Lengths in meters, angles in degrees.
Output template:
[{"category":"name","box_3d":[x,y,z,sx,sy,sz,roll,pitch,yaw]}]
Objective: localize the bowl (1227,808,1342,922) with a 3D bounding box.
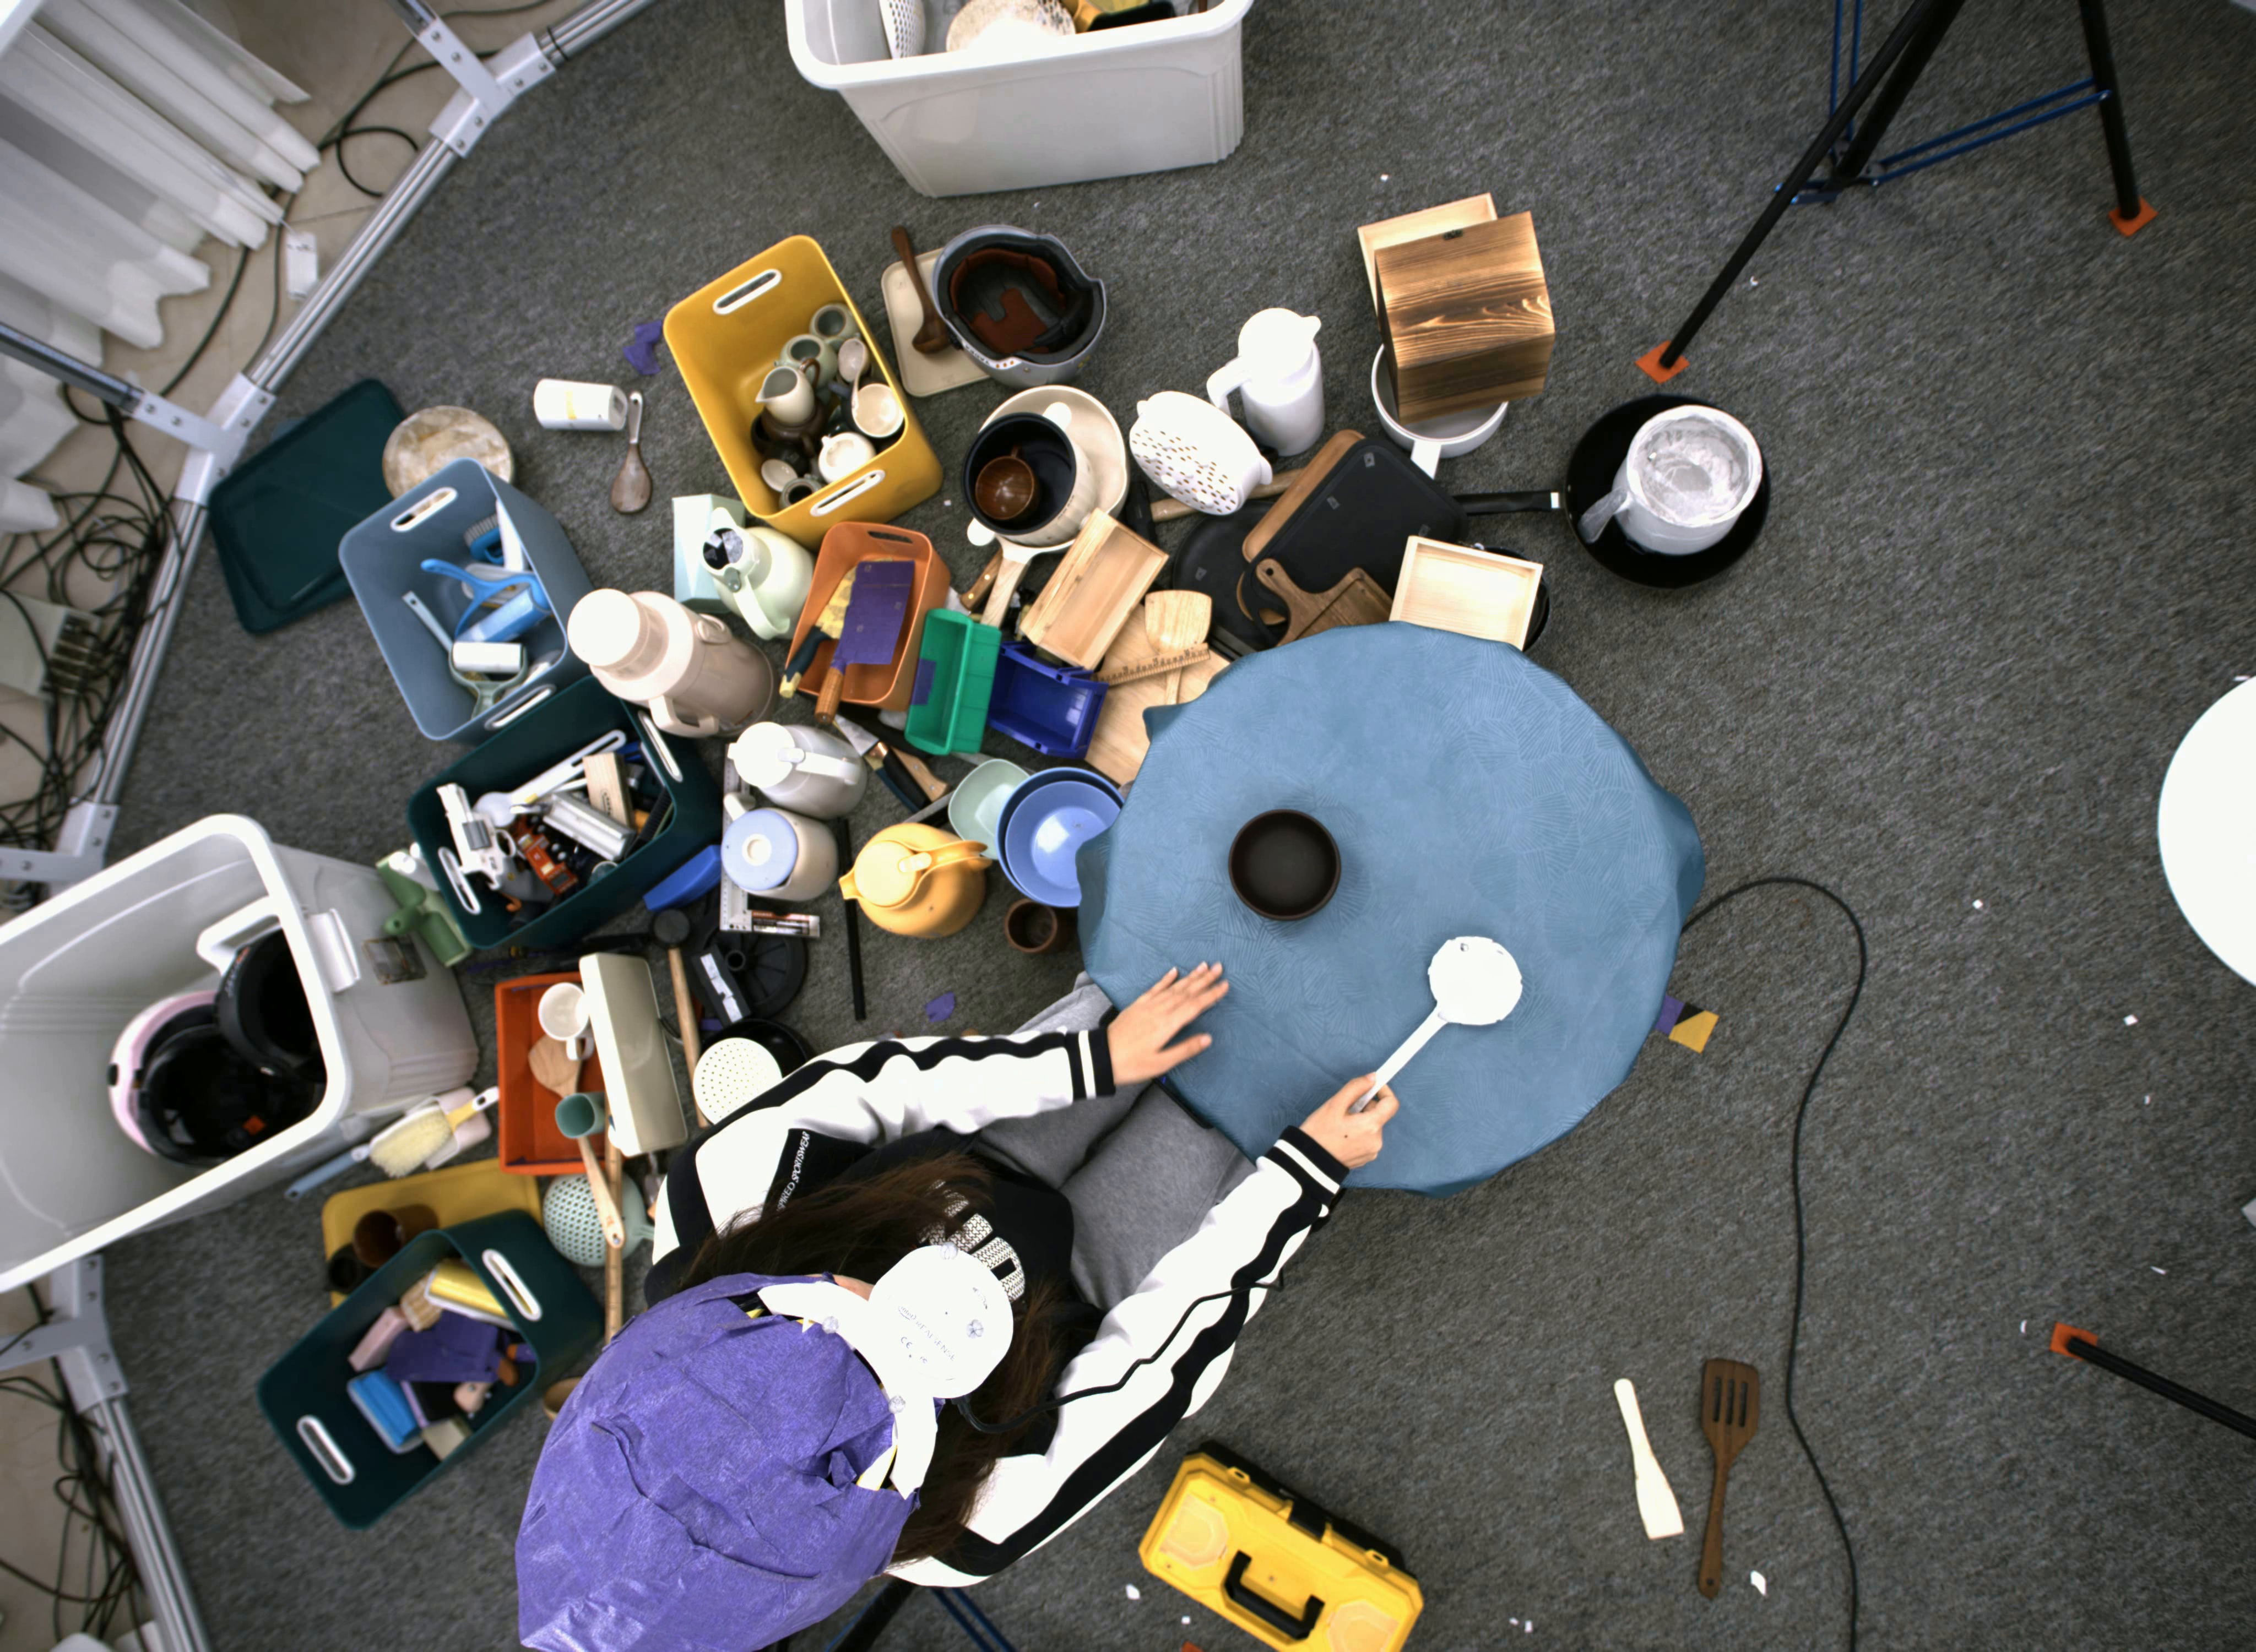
[{"category":"bowl","box_3d":[0.164,0.042,1.444,0.118,0.070,0.117,-1,86,11]}]

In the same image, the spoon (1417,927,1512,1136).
[{"category":"spoon","box_3d":[0.358,0.225,1.477,0.100,0.284,0.058,19,48,30]}]
